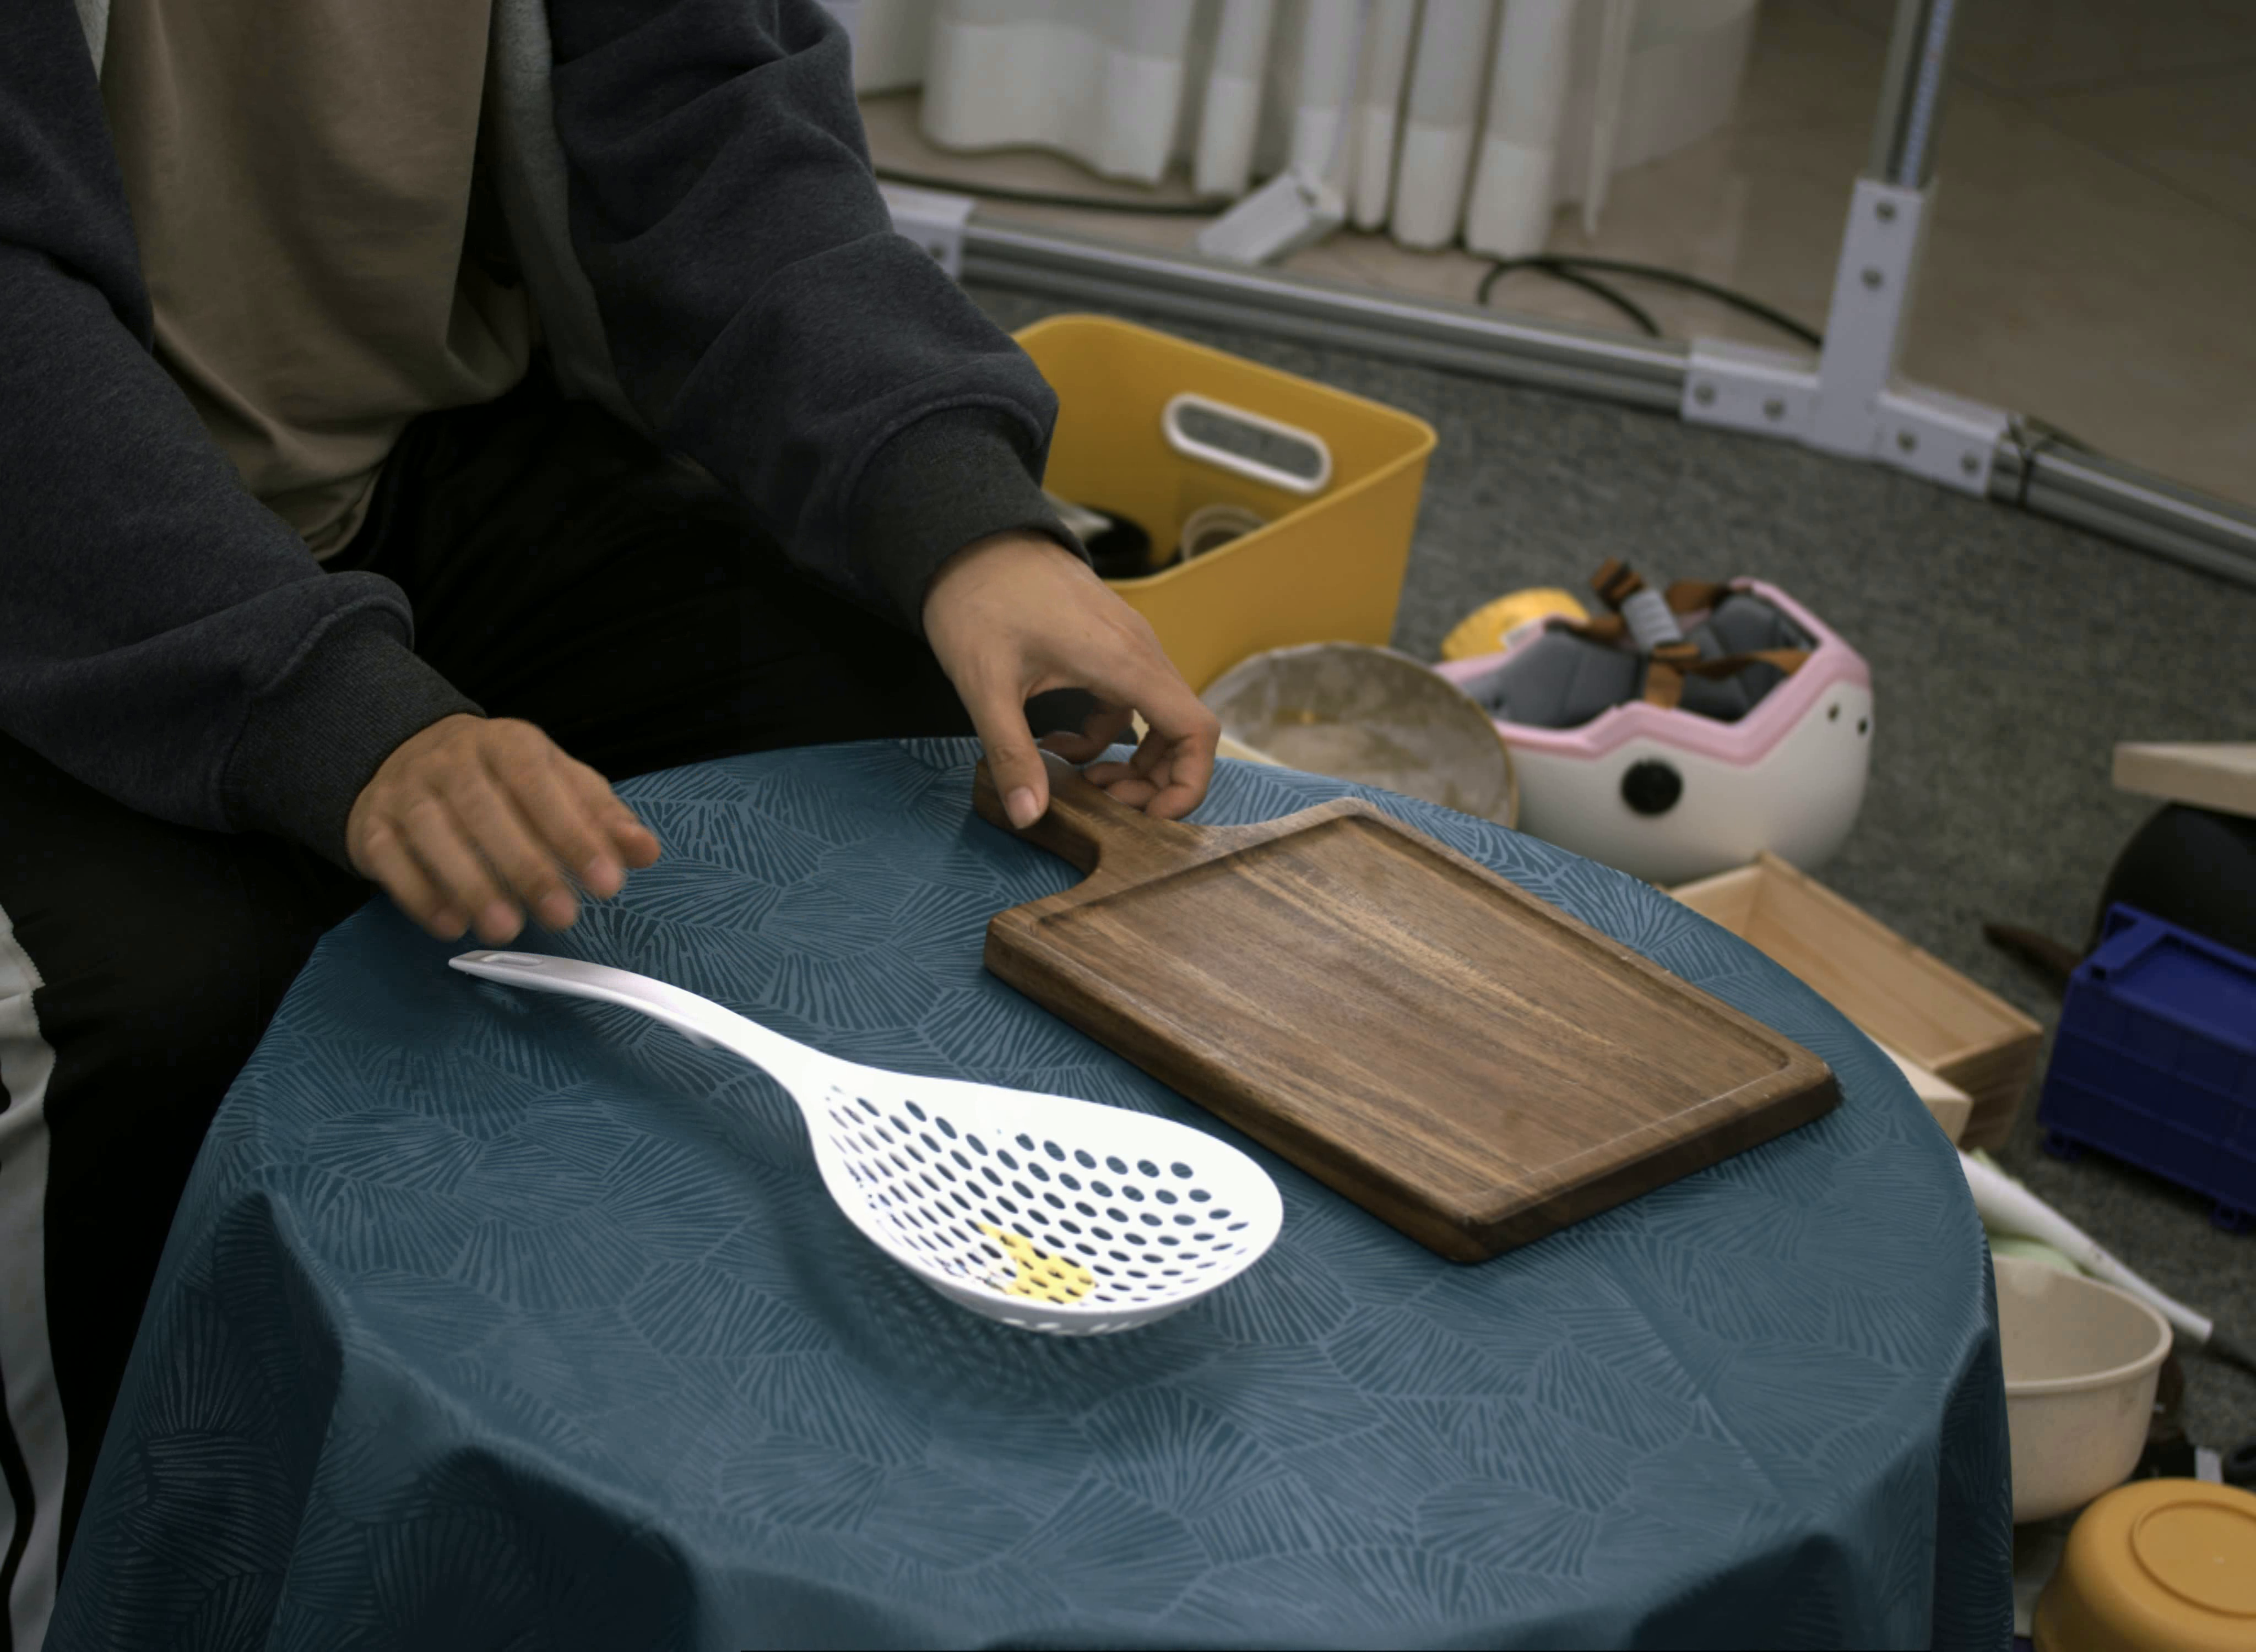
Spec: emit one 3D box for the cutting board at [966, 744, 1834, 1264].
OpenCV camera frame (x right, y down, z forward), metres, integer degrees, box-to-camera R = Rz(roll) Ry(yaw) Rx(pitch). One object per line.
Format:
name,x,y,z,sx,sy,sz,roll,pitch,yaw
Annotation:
cutting board,0.066,0.048,1.942,0.200,0.023,0.355,-18,36,-40

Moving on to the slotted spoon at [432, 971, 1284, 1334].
slotted spoon,-0.104,0.096,1.787,0.350,0.050,0.136,26,35,33
